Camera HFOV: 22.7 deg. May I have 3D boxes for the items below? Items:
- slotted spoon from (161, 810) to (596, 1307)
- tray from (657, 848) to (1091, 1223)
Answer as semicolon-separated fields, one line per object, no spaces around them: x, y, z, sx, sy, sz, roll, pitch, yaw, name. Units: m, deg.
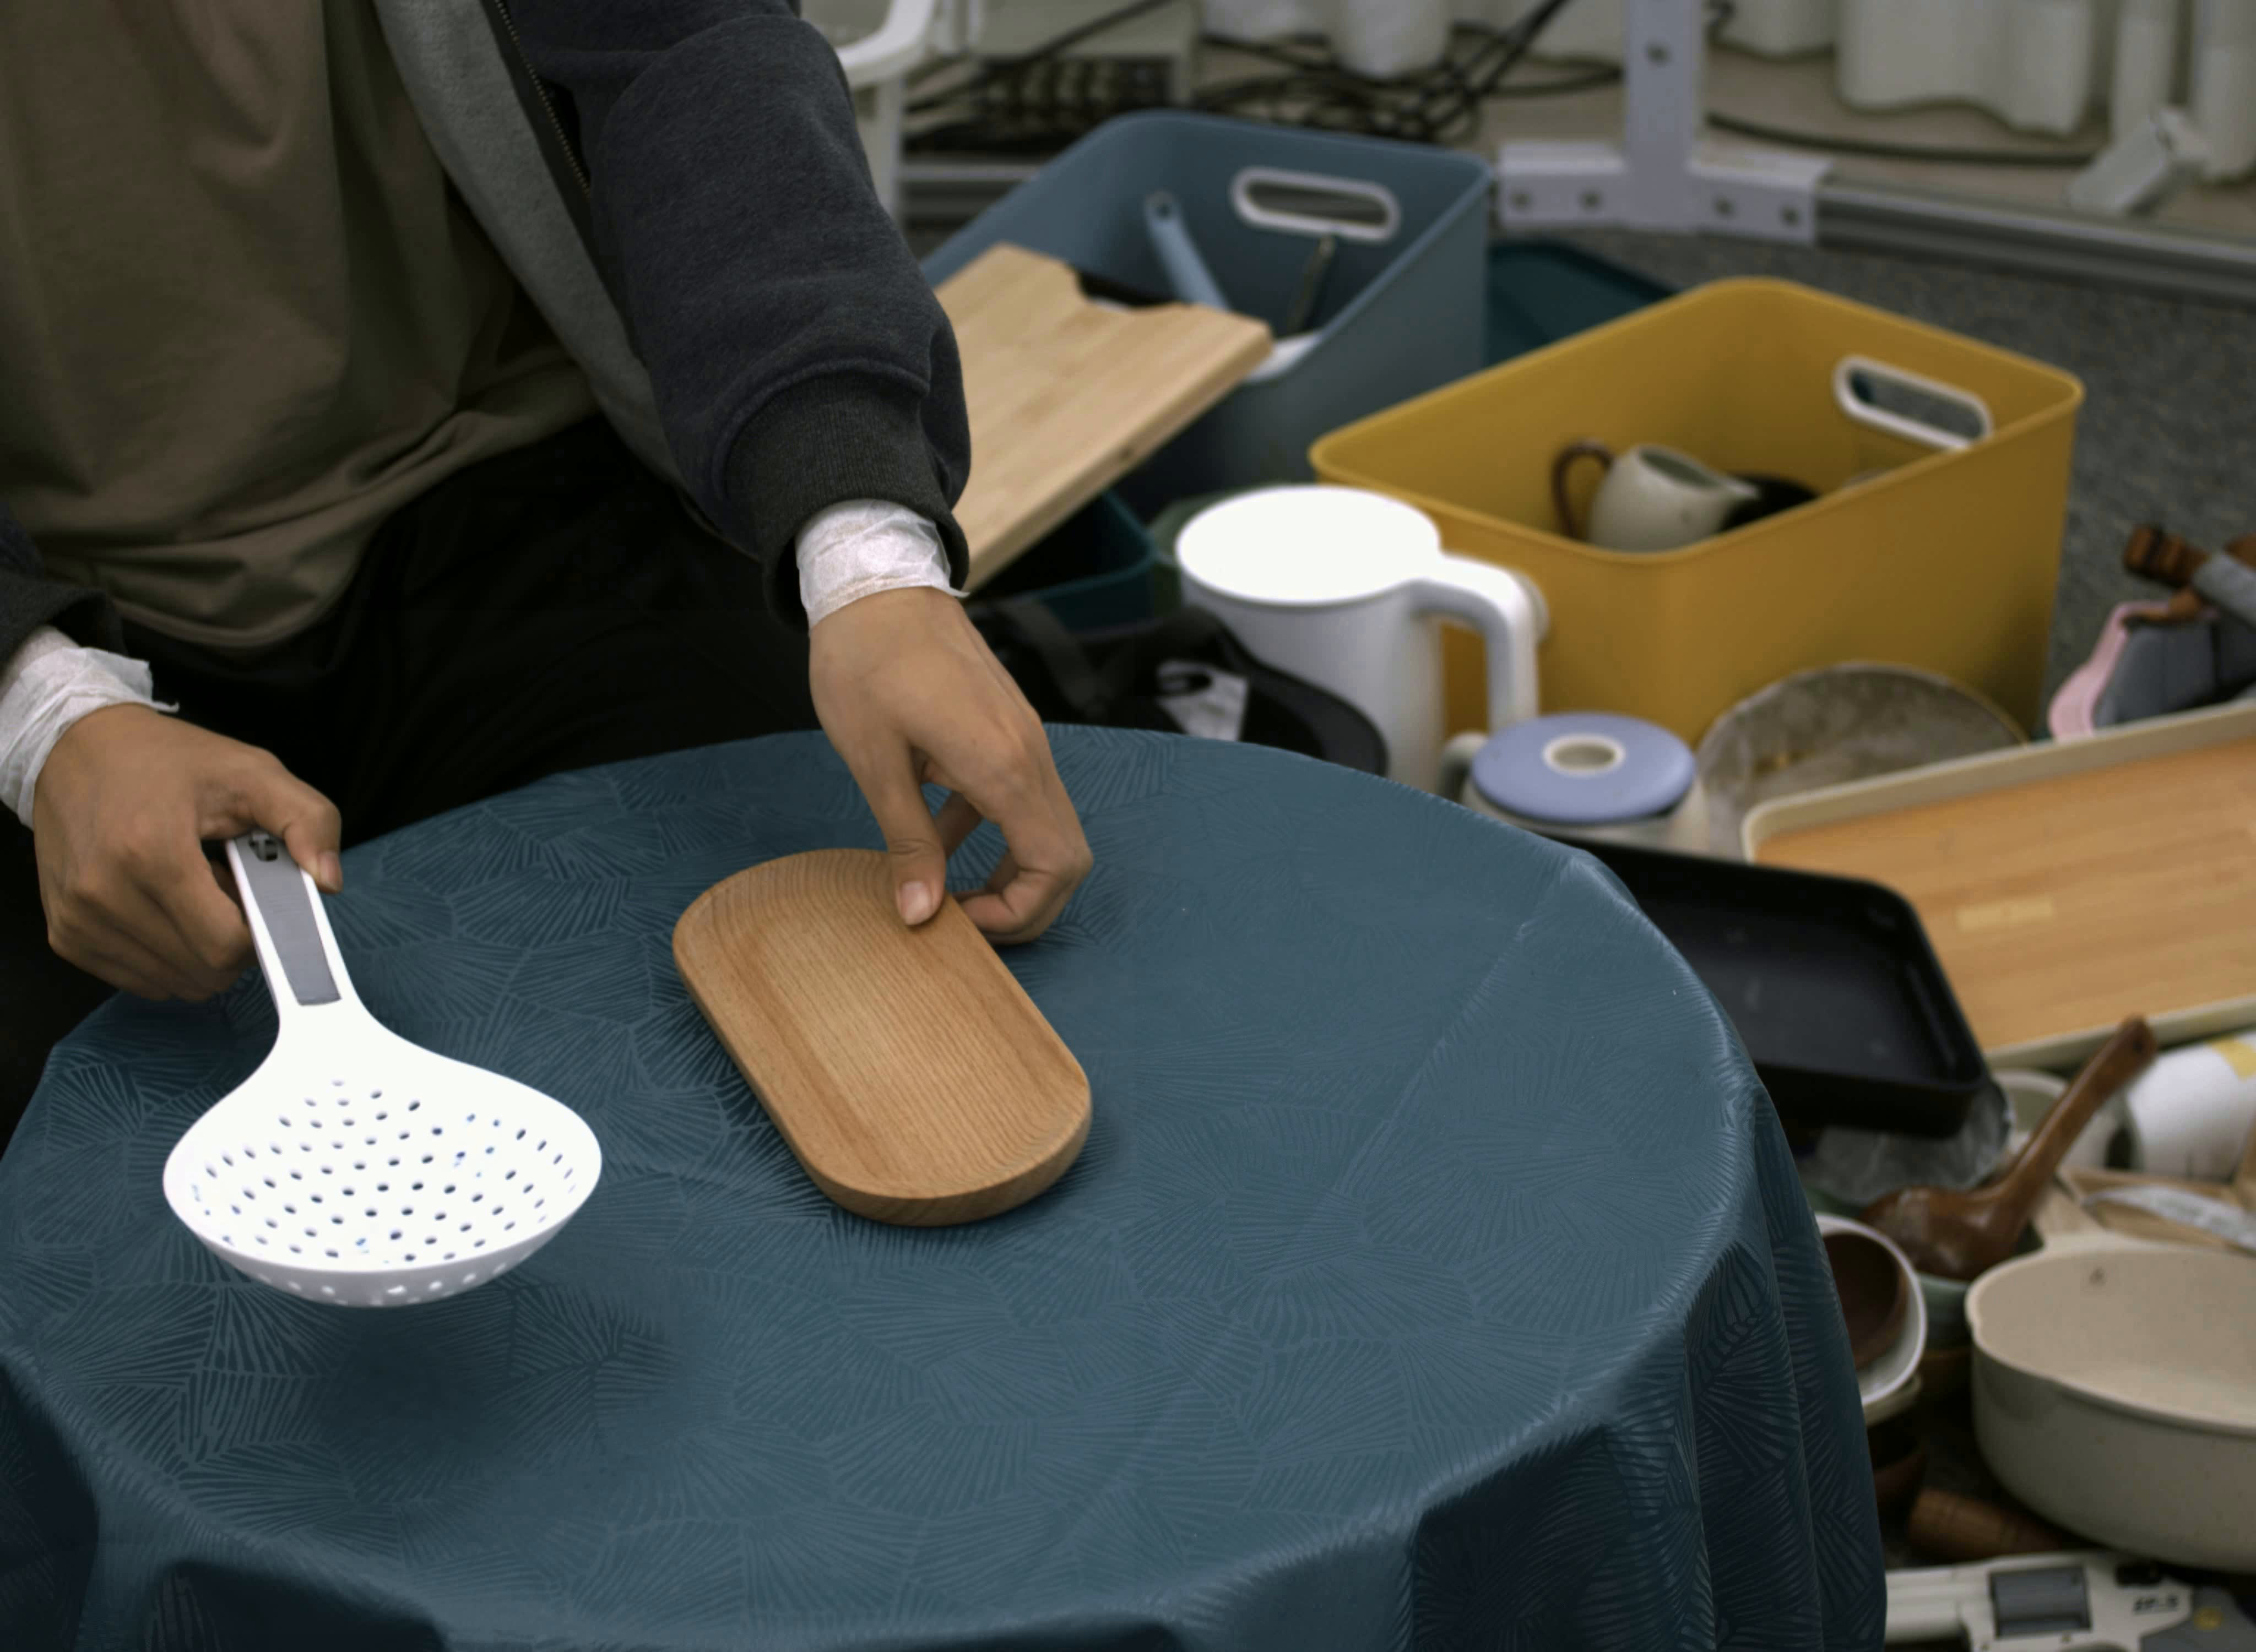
-0.266;0.071;1.856;0.136;0.045;0.353;-5;29;-16;slotted spoon
-0.089;0.070;1.939;0.102;0.020;0.233;-16;32;-18;tray
